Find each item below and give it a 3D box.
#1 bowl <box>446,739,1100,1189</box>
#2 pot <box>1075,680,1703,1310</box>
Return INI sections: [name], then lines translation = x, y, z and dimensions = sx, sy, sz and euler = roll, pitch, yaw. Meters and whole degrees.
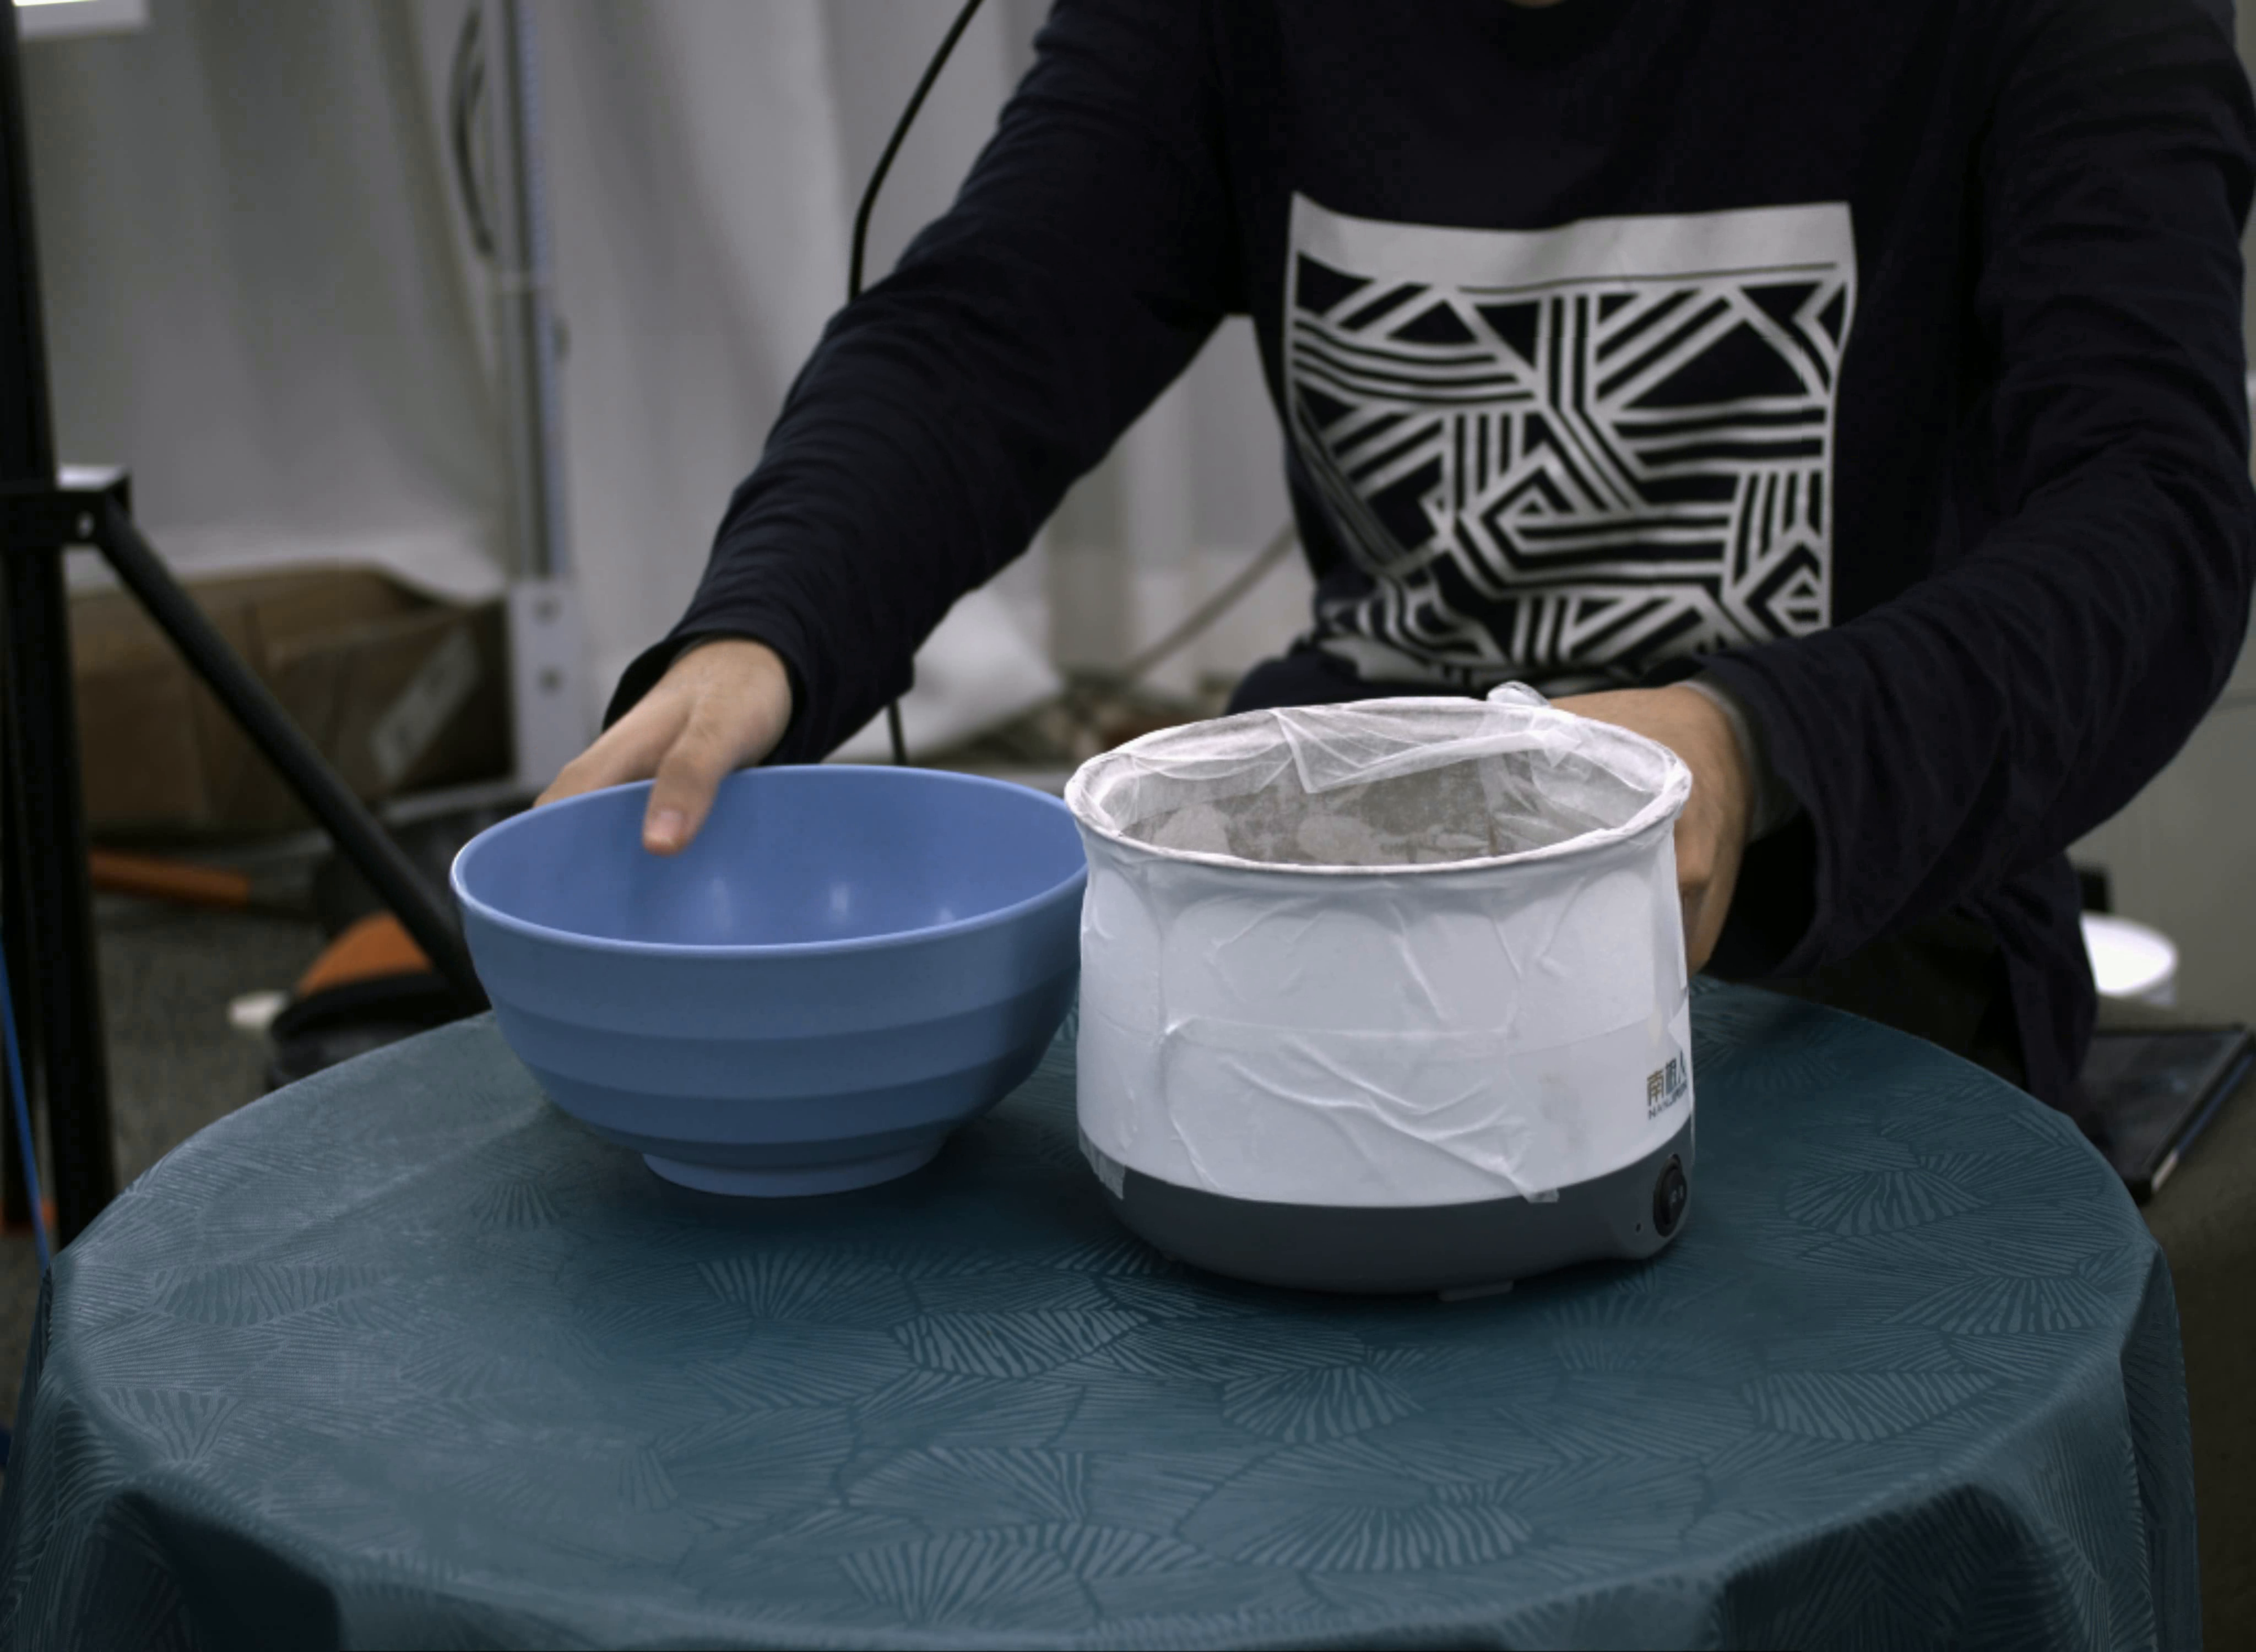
[bowl]
translation = -0.102, 0.048, 1.601
dimensions = 0.195, 0.095, 0.197
euler = -5, 19, 0
[pot]
translation = 0.085, 0.041, 1.534
dimensions = 0.181, 0.136, 0.230
euler = 8, 18, 25
